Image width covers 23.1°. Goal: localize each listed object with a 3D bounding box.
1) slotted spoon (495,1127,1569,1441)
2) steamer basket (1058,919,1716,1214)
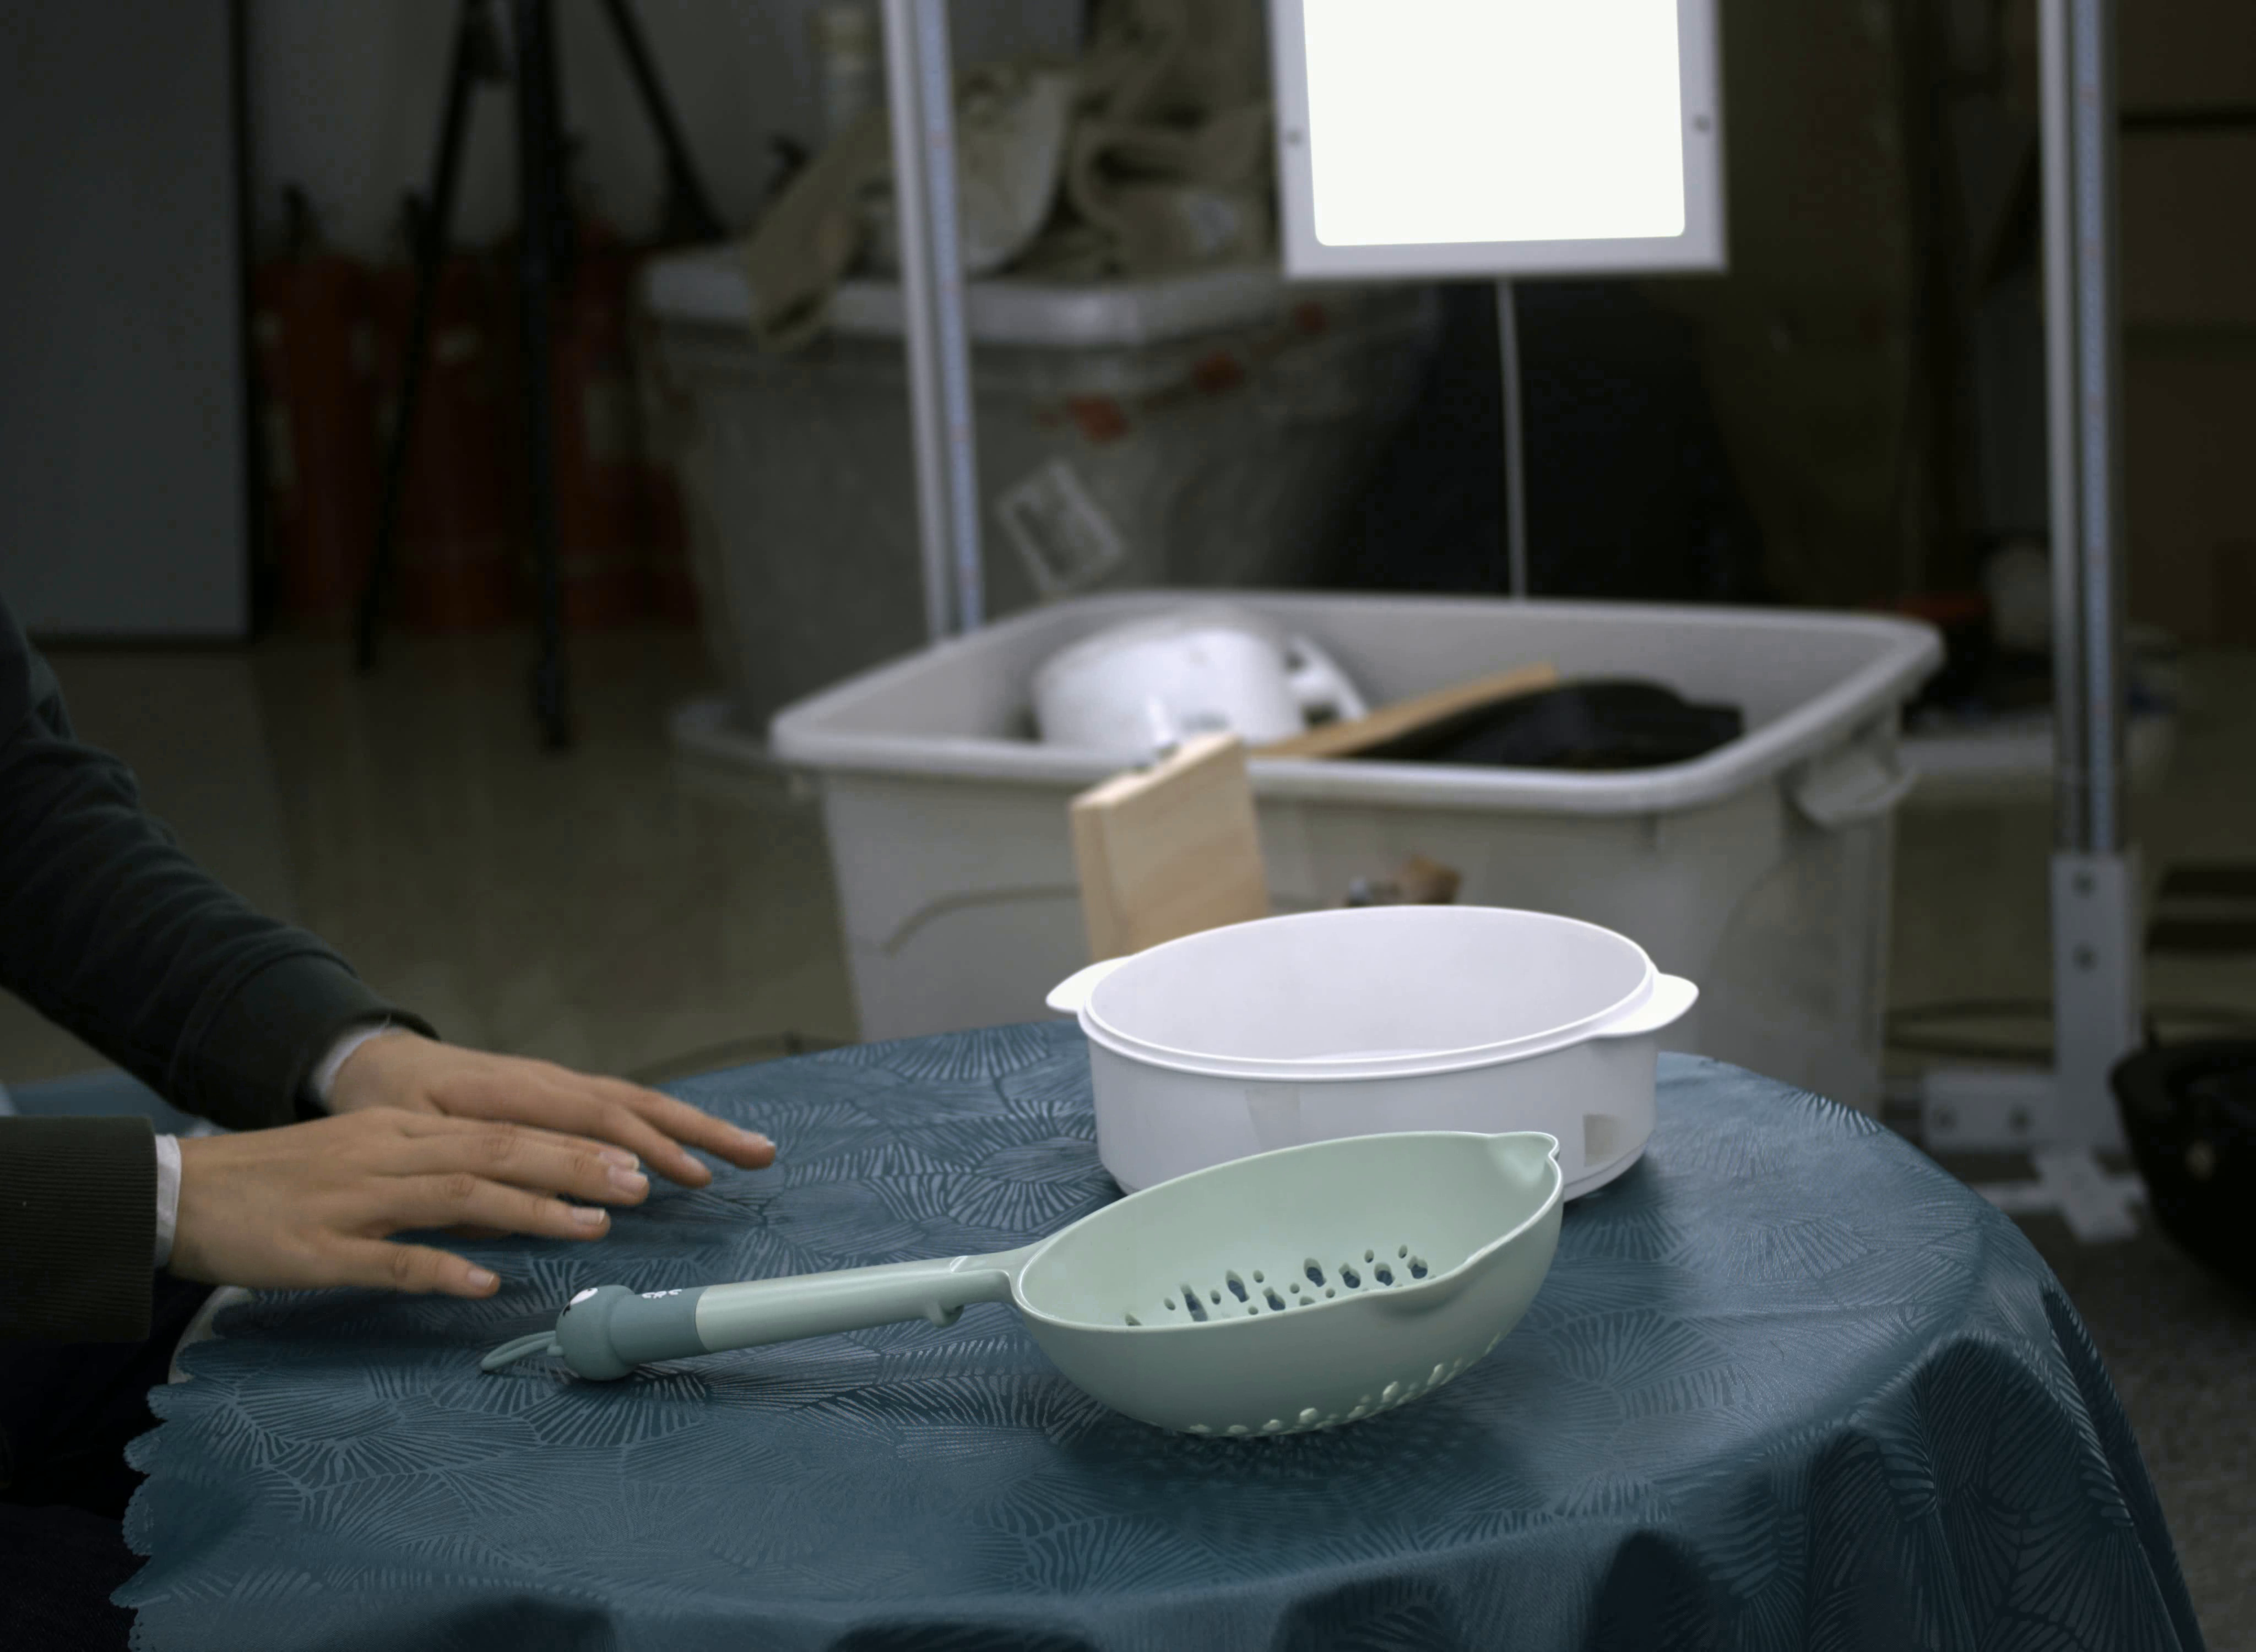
[{"bbox_3d":[-0.038,0.145,1.701,0.364,0.075,0.166,1,16,22],"label":"slotted spoon"},{"bbox_3d":[0.090,0.087,1.893,0.234,0.069,0.198,1,14,23],"label":"steamer basket"}]
